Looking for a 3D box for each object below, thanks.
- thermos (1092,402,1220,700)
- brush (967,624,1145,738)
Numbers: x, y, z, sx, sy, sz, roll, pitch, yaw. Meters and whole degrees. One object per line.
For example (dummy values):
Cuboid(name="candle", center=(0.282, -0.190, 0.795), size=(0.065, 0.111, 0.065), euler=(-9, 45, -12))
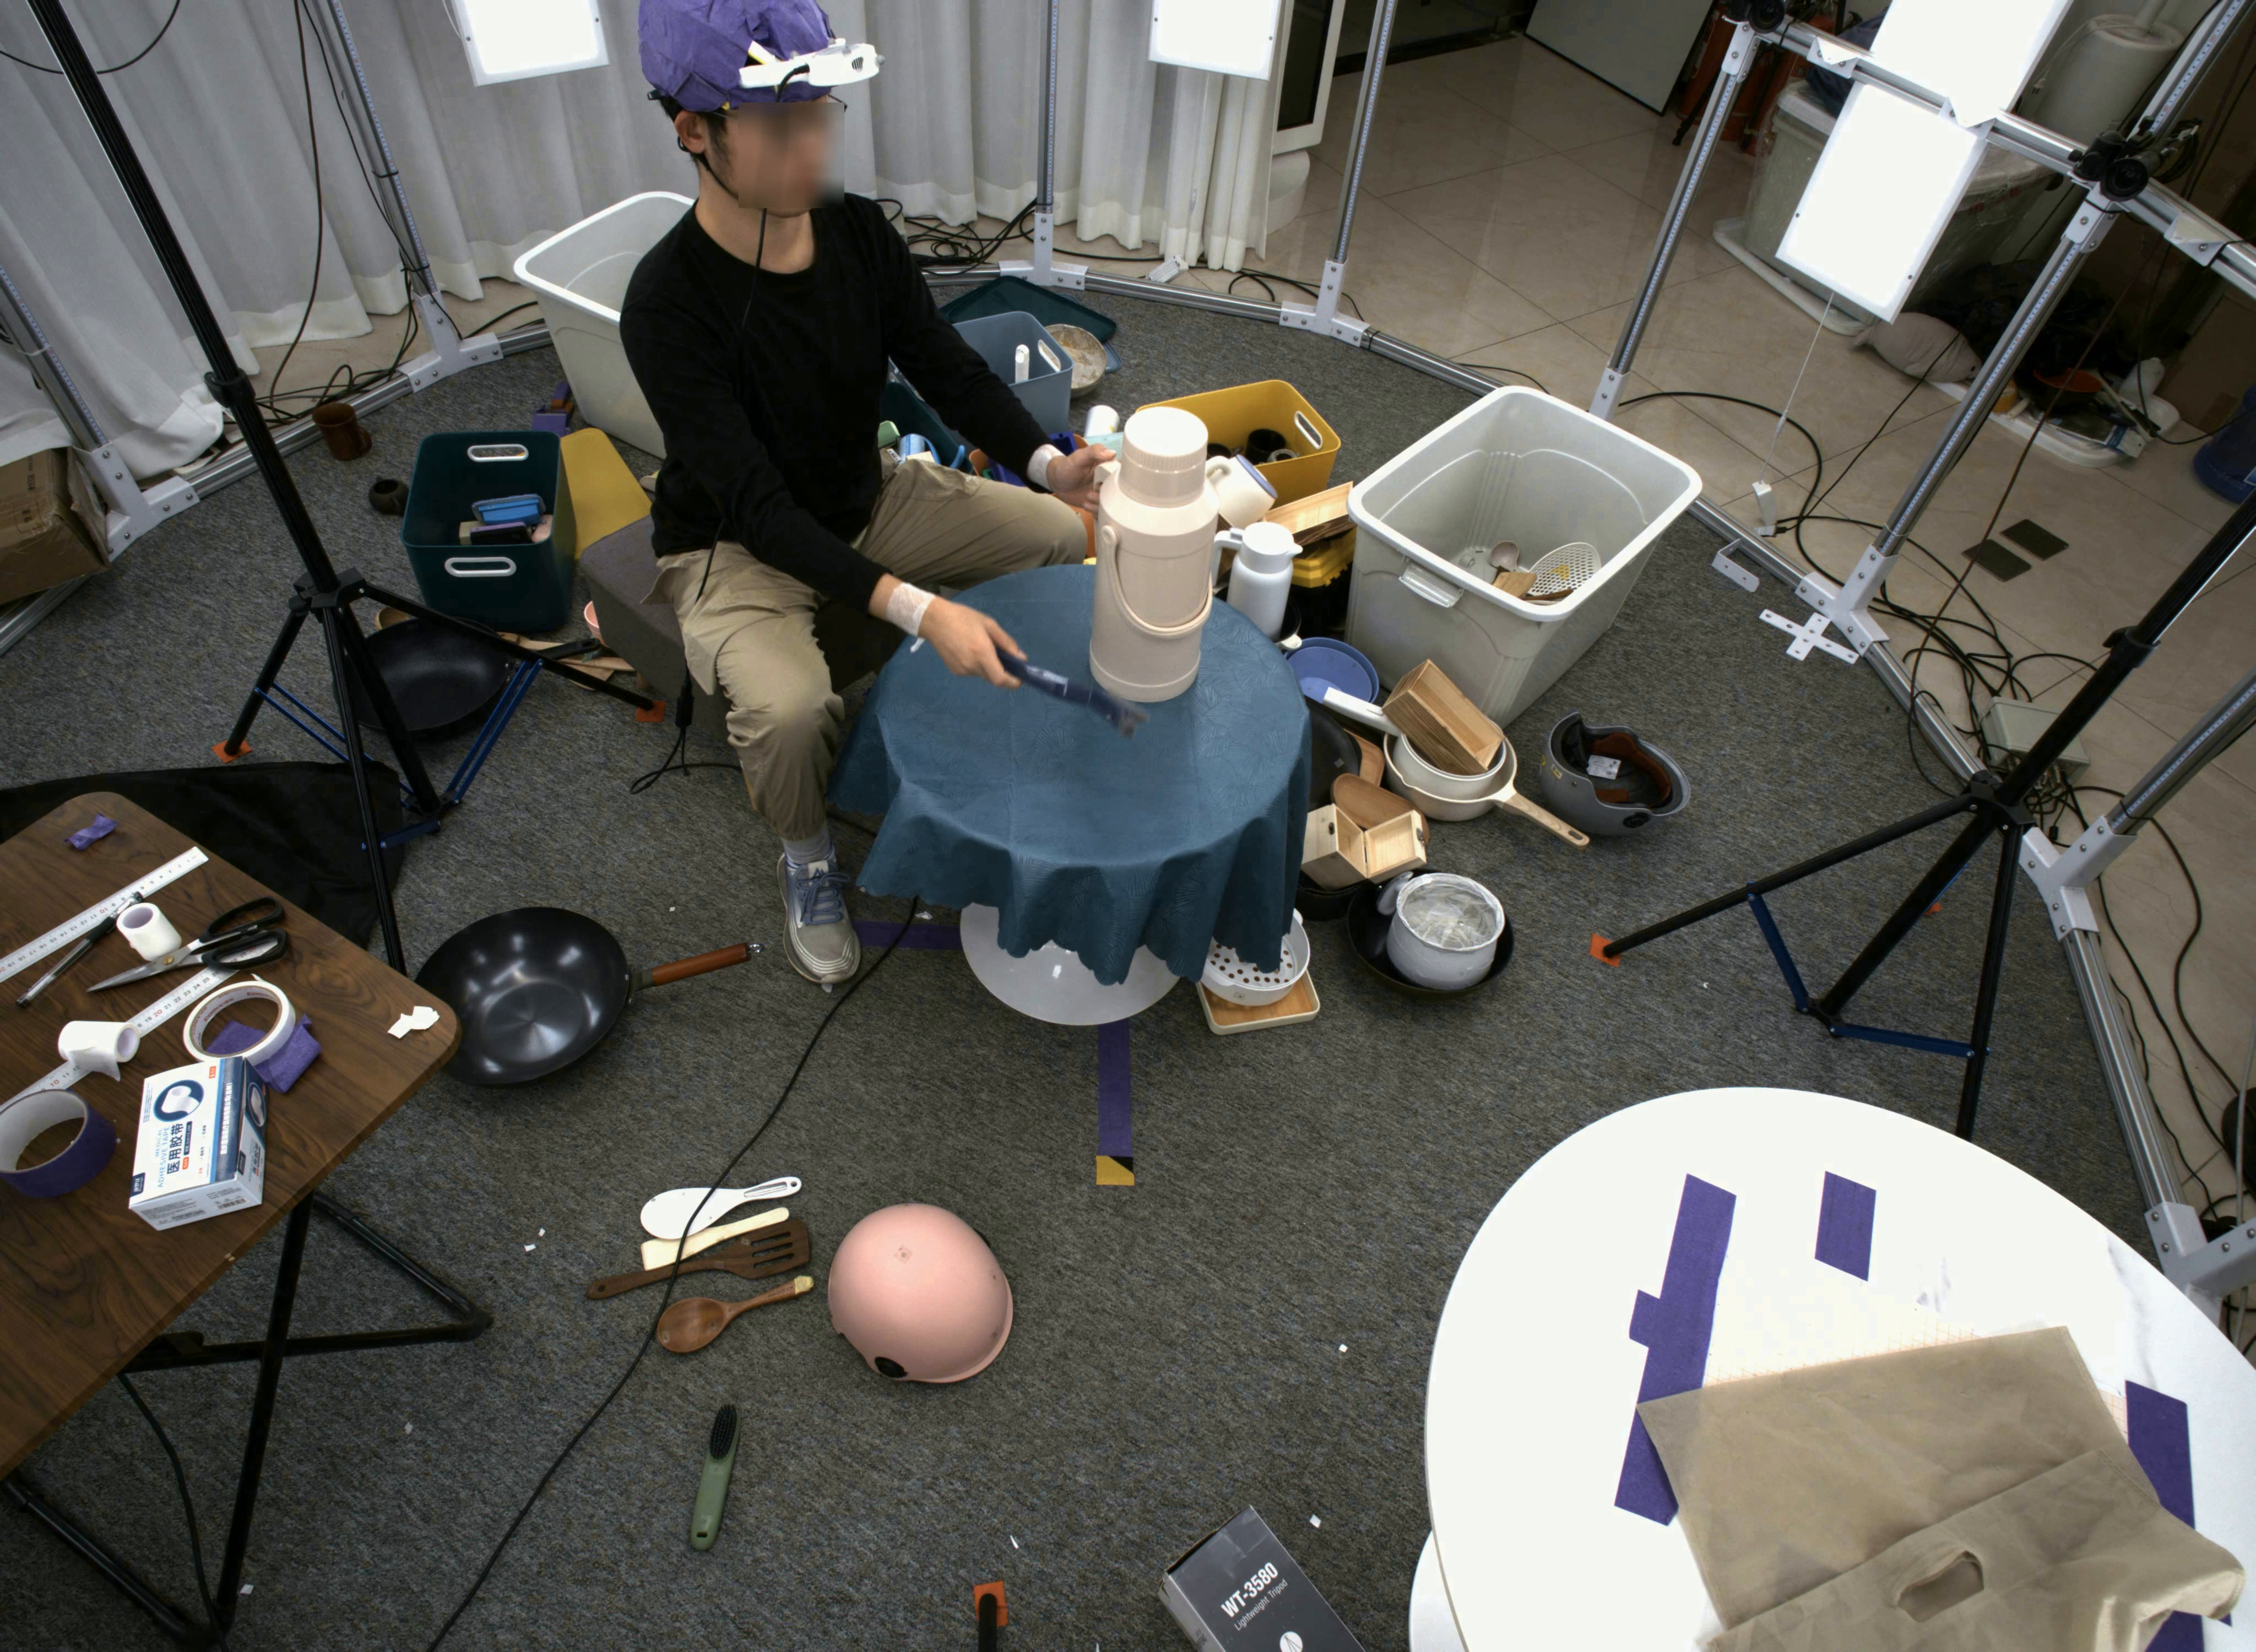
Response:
Cuboid(name="thermos", center=(0.028, -0.373, 1.739), size=(0.176, 0.396, 0.210), euler=(-33, 59, -26))
Cuboid(name="brush", center=(-0.103, -0.187, 1.632), size=(0.275, 0.033, 0.097), euler=(24, 30, 16))
